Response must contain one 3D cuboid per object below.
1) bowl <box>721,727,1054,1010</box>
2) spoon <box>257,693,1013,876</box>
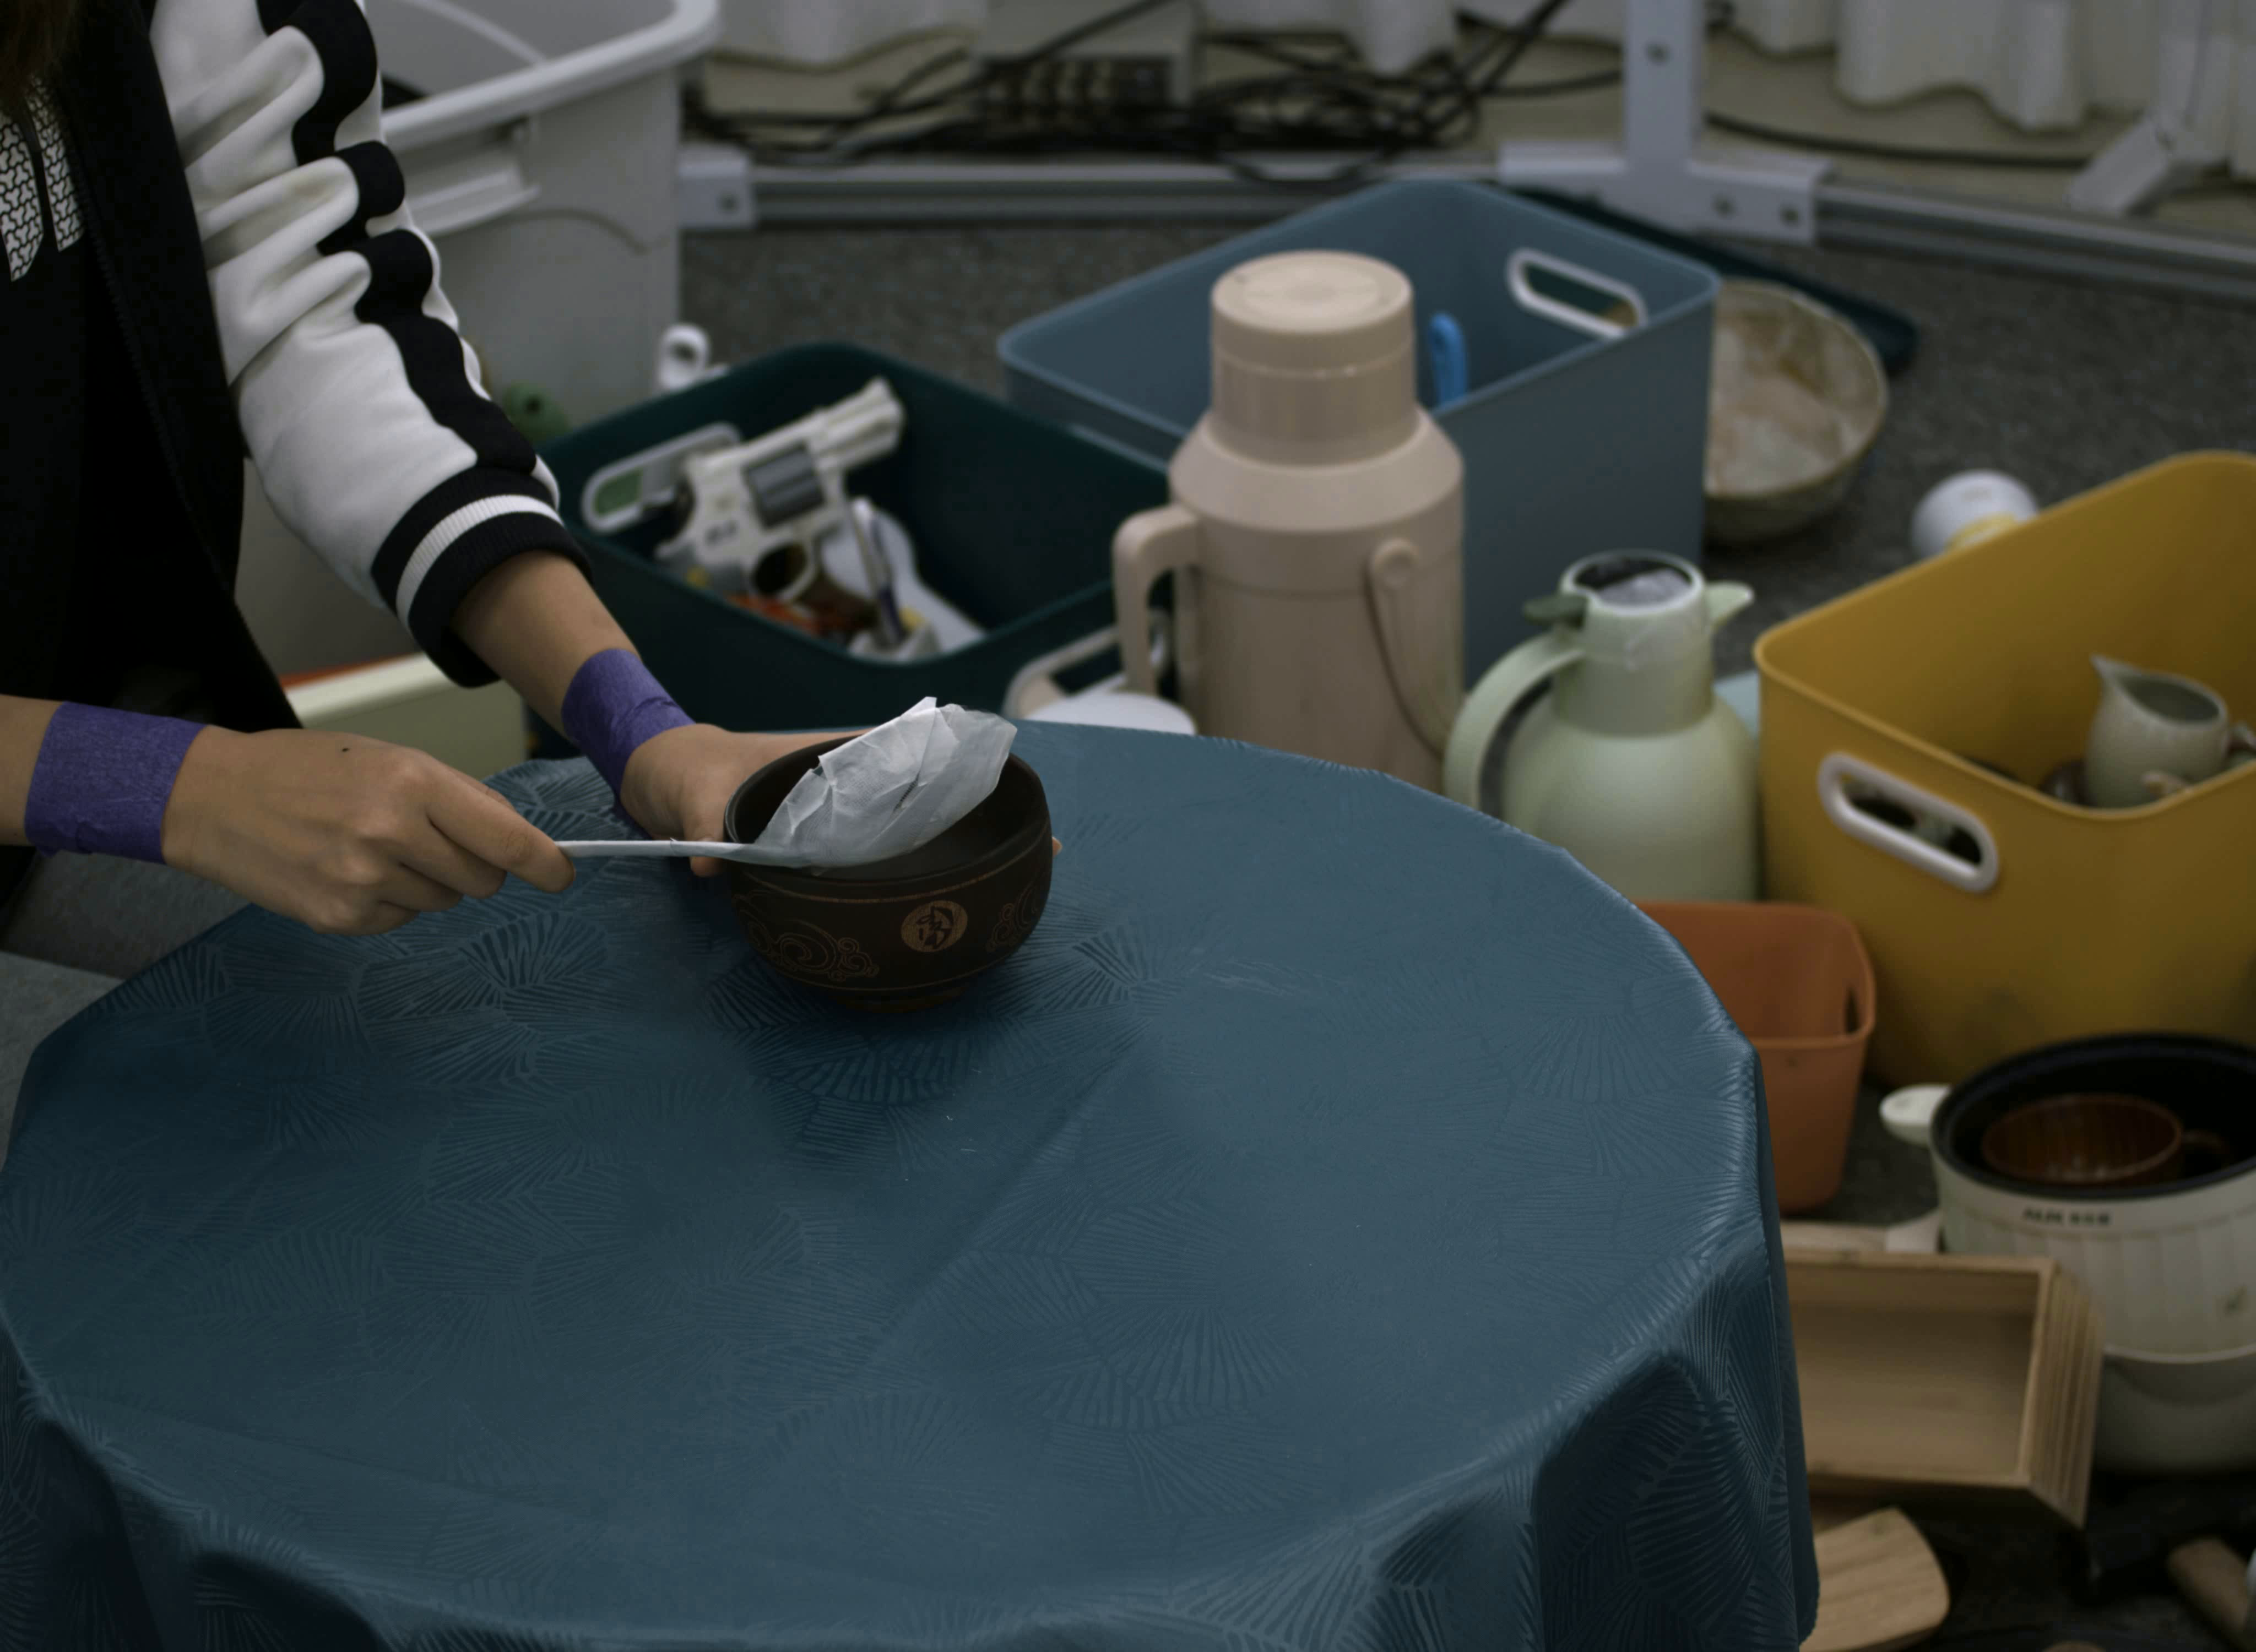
[{"bbox_3d":[-0.084,0.022,1.985,0.117,0.069,0.120,-2,27,1],"label":"bowl"},{"bbox_3d":[-0.174,-0.012,1.959,0.275,0.100,0.060,-1,69,19],"label":"spoon"}]
